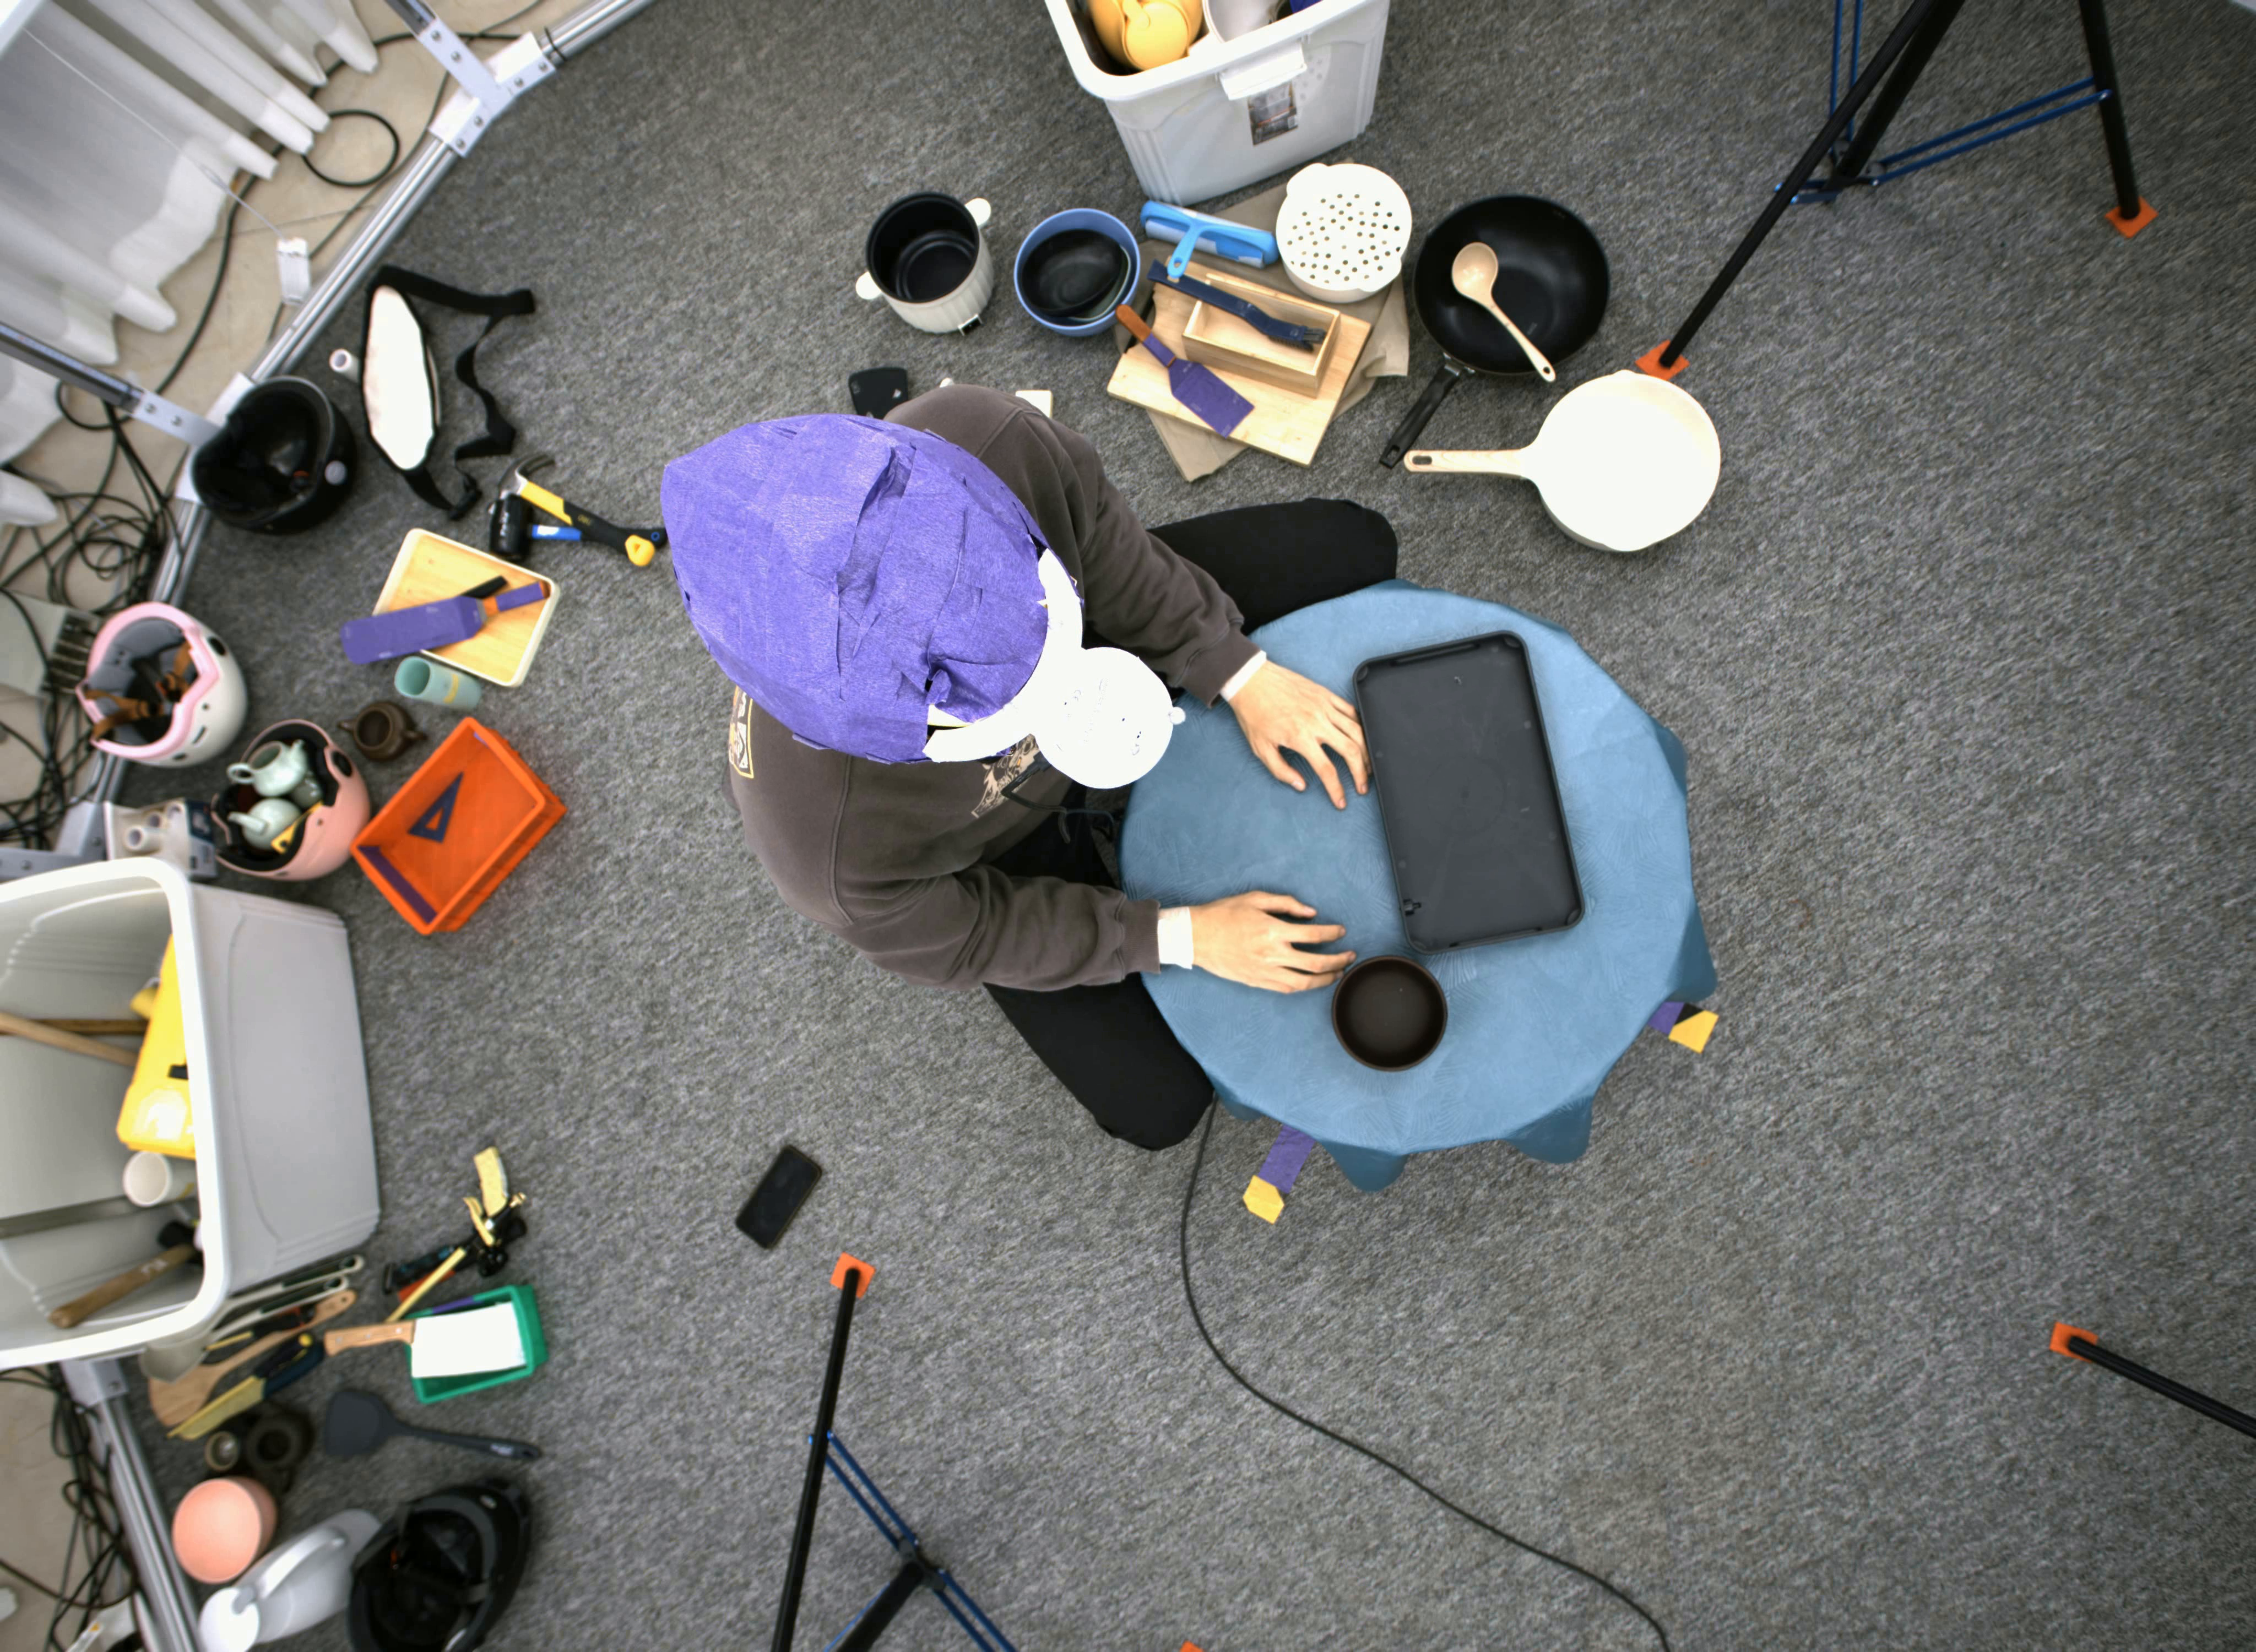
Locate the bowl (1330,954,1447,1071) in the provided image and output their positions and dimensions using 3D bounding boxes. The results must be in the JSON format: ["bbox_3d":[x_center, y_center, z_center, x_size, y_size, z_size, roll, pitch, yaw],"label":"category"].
[{"bbox_3d":[0.266,0.189,1.416,0.118,0.070,0.117,-1,86,12],"label":"bowl"}]

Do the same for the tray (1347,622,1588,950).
[{"bbox_3d":[0.351,-0.042,1.430,0.185,0.037,0.316,-13,85,10],"label":"tray"}]
